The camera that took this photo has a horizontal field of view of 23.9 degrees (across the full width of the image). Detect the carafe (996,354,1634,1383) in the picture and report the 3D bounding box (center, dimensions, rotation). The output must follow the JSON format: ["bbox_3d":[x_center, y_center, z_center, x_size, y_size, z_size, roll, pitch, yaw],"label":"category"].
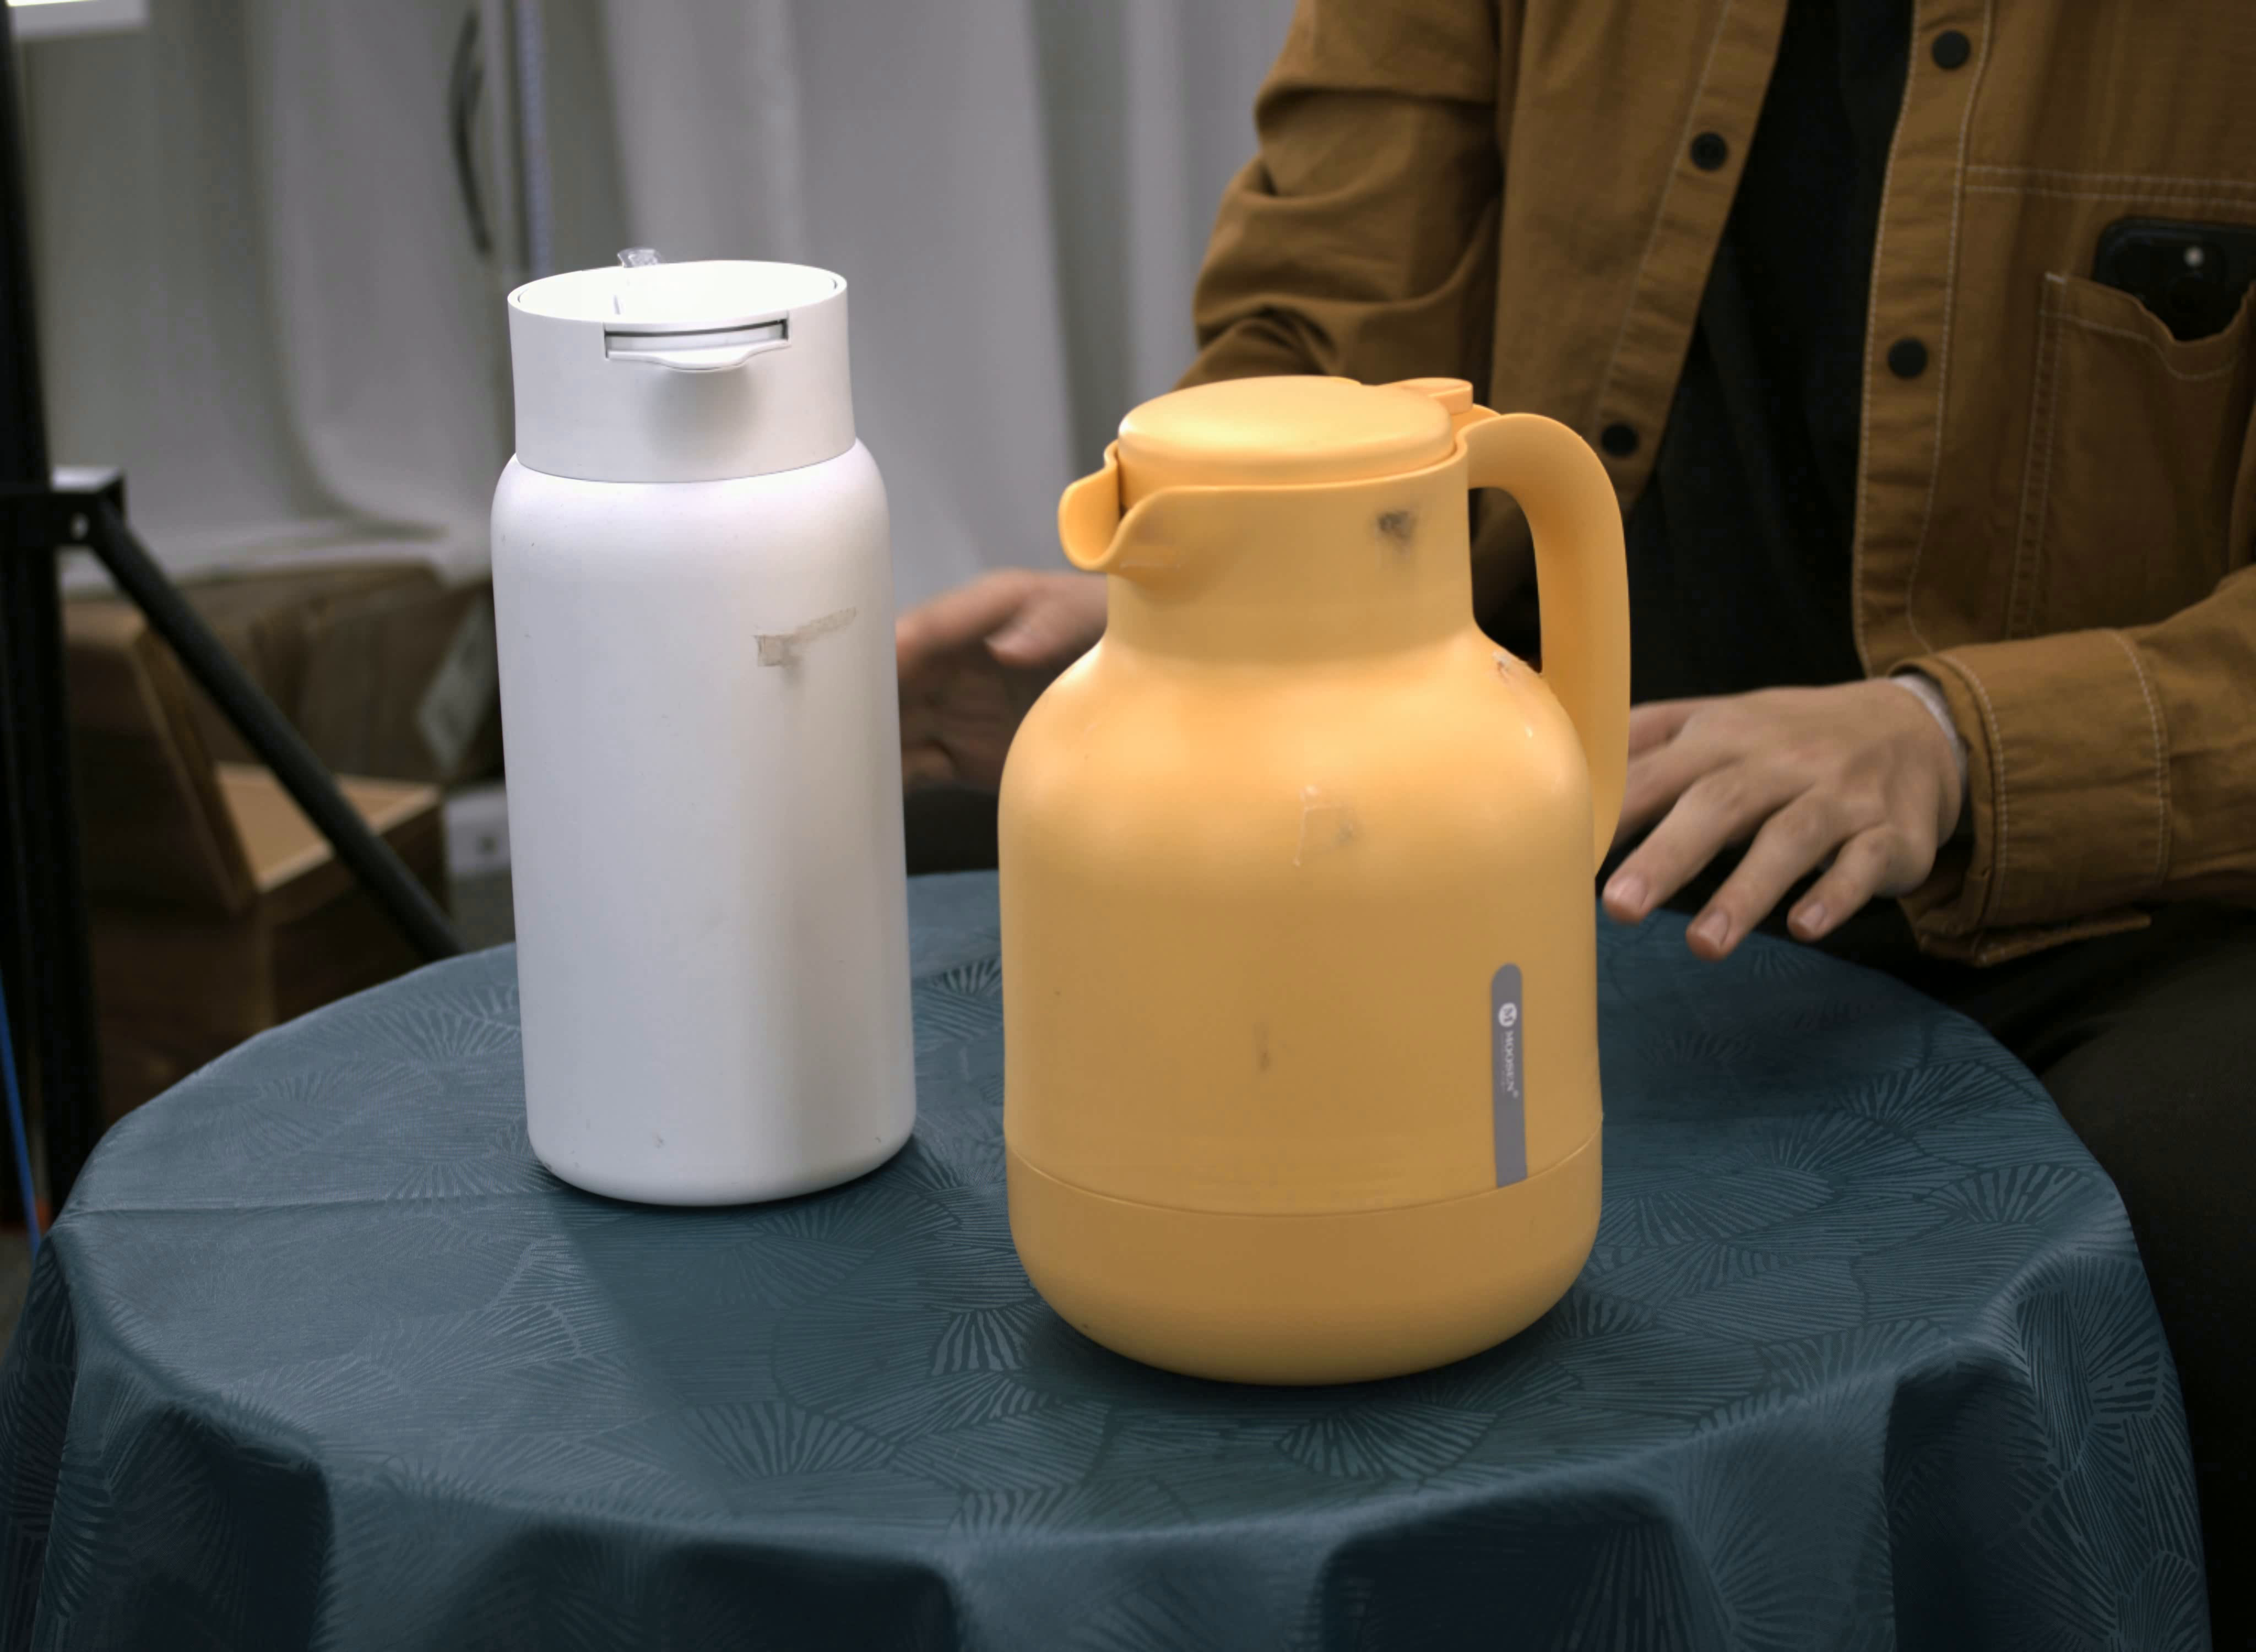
[{"bbox_3d":[0.061,0.004,1.430,0.198,0.260,0.167,-16,23,-37],"label":"carafe"}]

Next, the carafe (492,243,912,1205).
[{"bbox_3d":[-0.131,-0.034,1.591,0.122,0.269,0.175,-7,15,-11],"label":"carafe"}]
